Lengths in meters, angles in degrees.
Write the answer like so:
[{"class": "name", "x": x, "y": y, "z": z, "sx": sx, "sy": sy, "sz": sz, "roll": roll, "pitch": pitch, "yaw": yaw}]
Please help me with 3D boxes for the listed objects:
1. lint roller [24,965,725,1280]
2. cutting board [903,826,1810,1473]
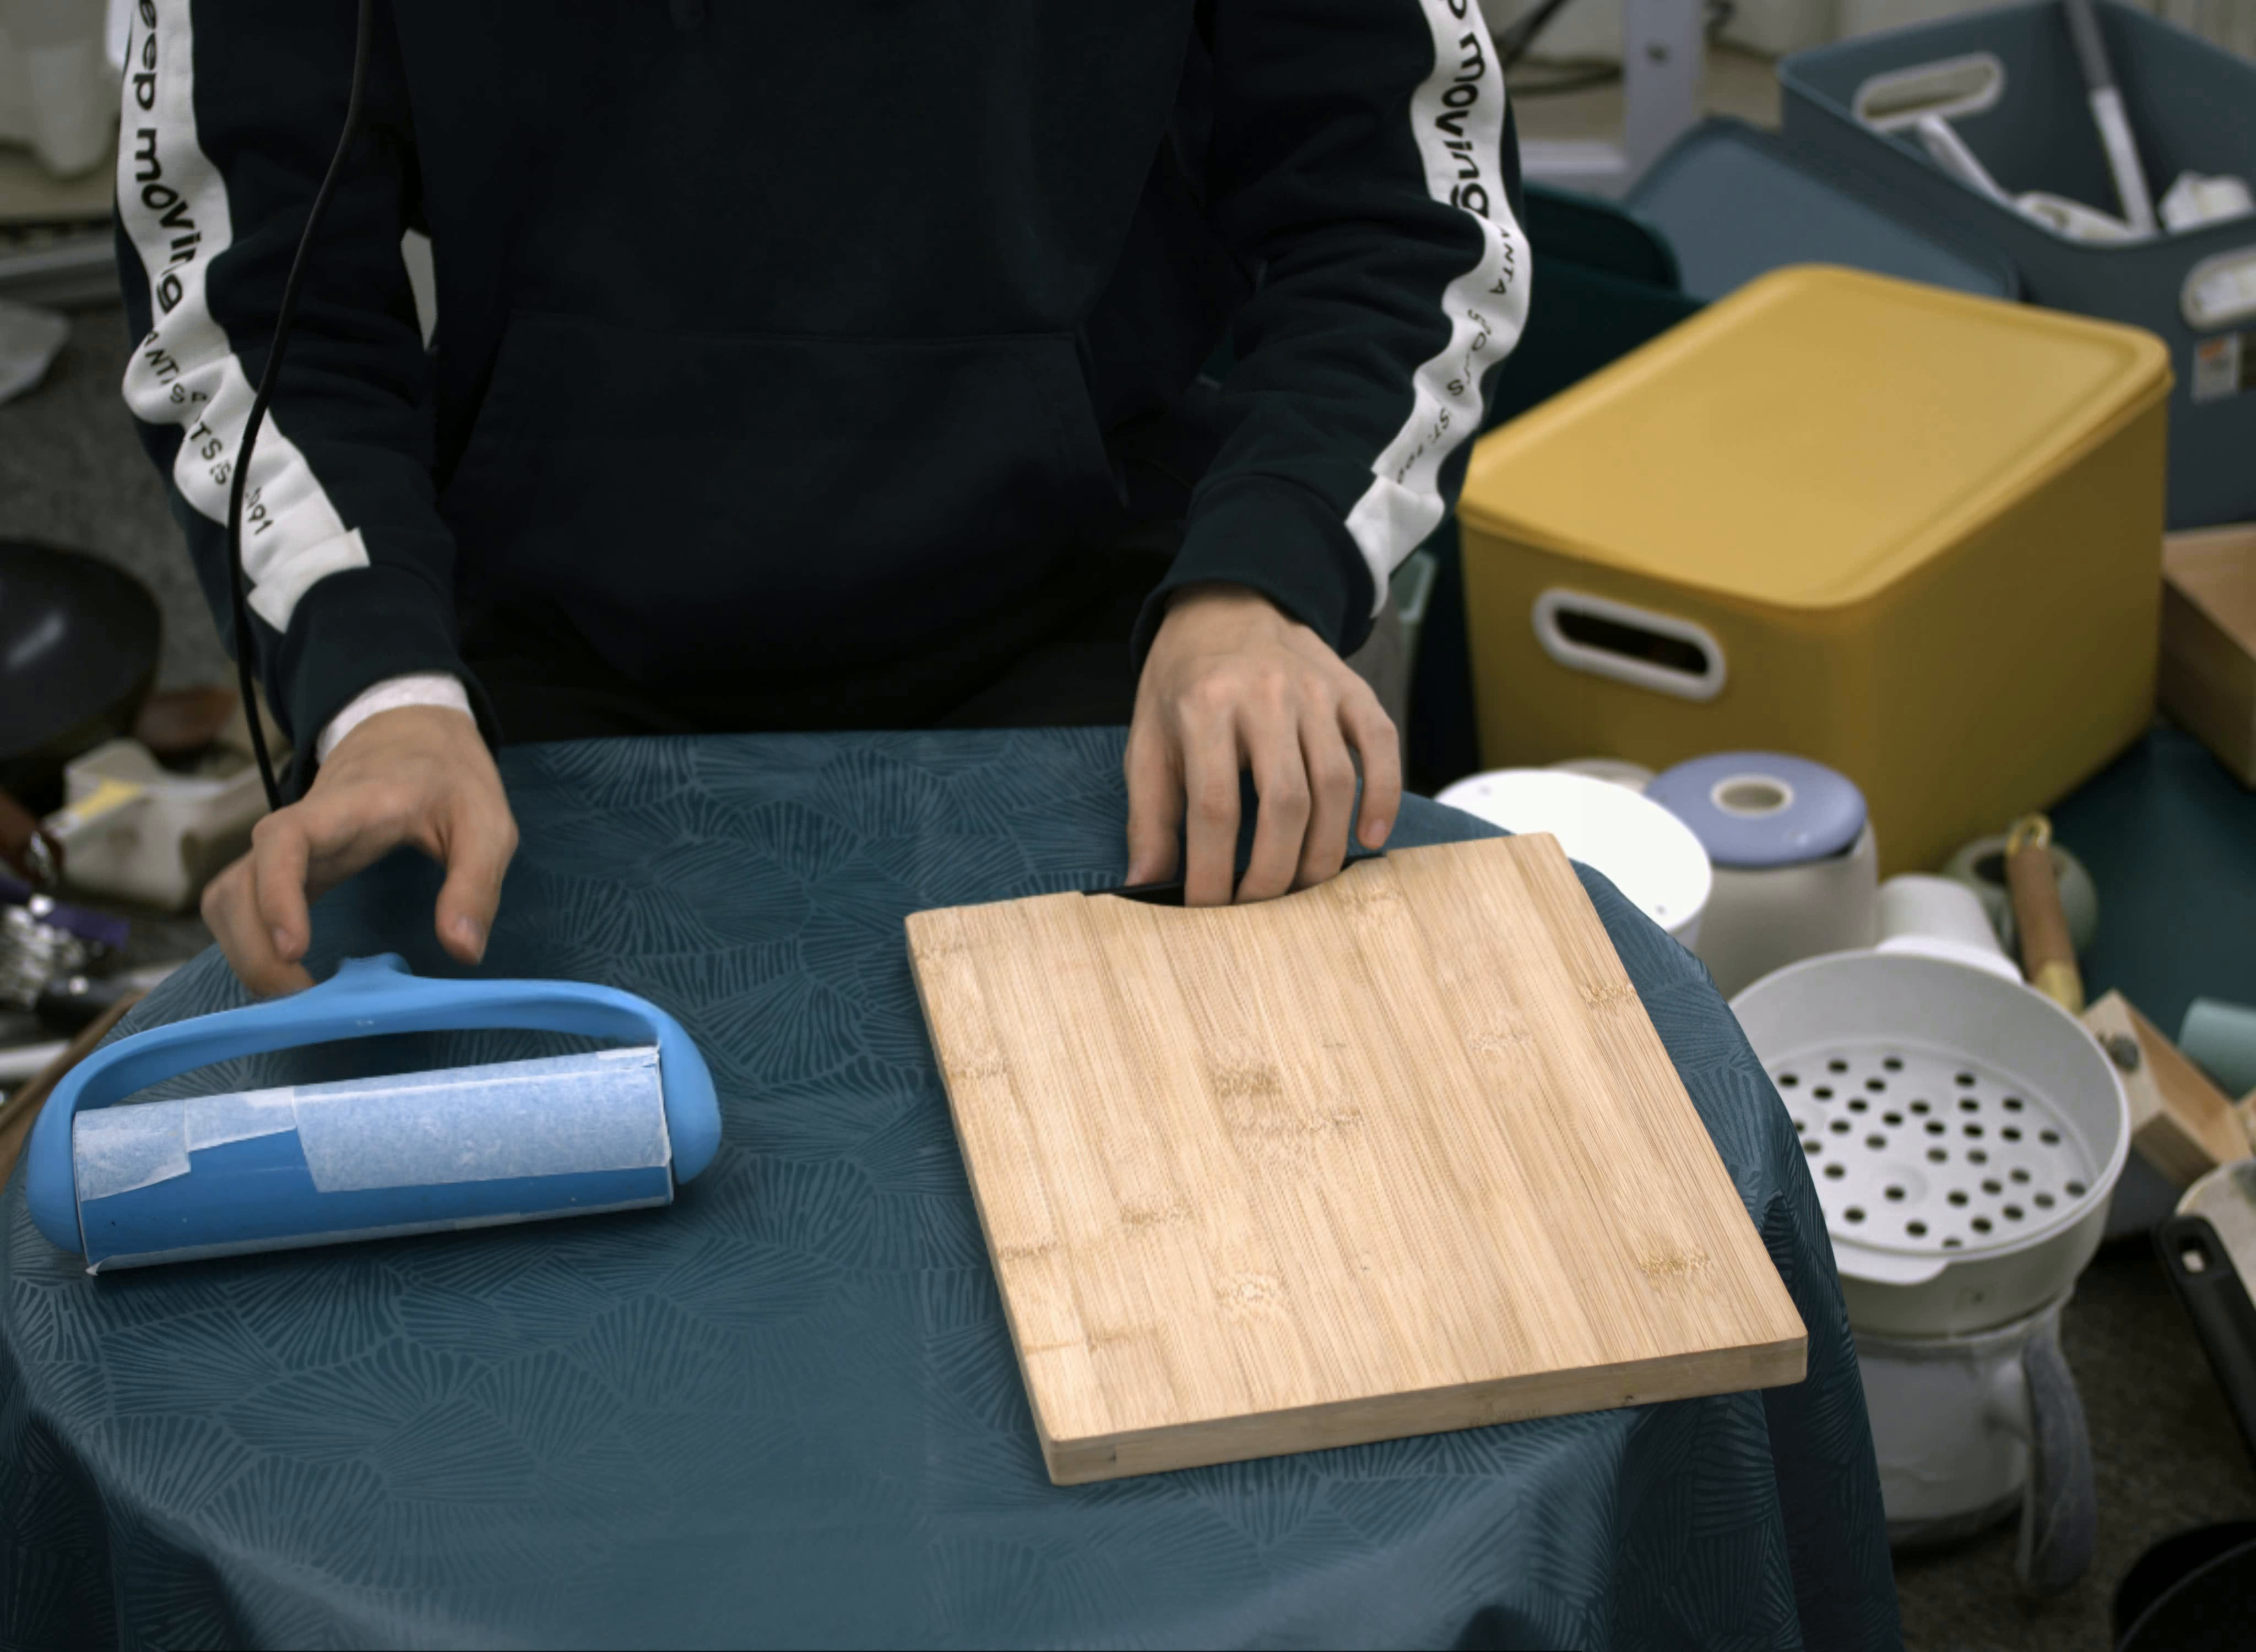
[{"class": "lint roller", "x": -0.257, "y": 0.083, "z": 1.899, "sx": 0.228, "sy": 0.067, "sz": 0.182, "roll": -9, "pitch": 29, "yaw": -8}, {"class": "cutting board", "x": 0.065, "y": 0.101, "z": 1.876, "sx": 0.250, "sy": 0.023, "sz": 0.353, "roll": -7, "pitch": 28, "yaw": -8}]
